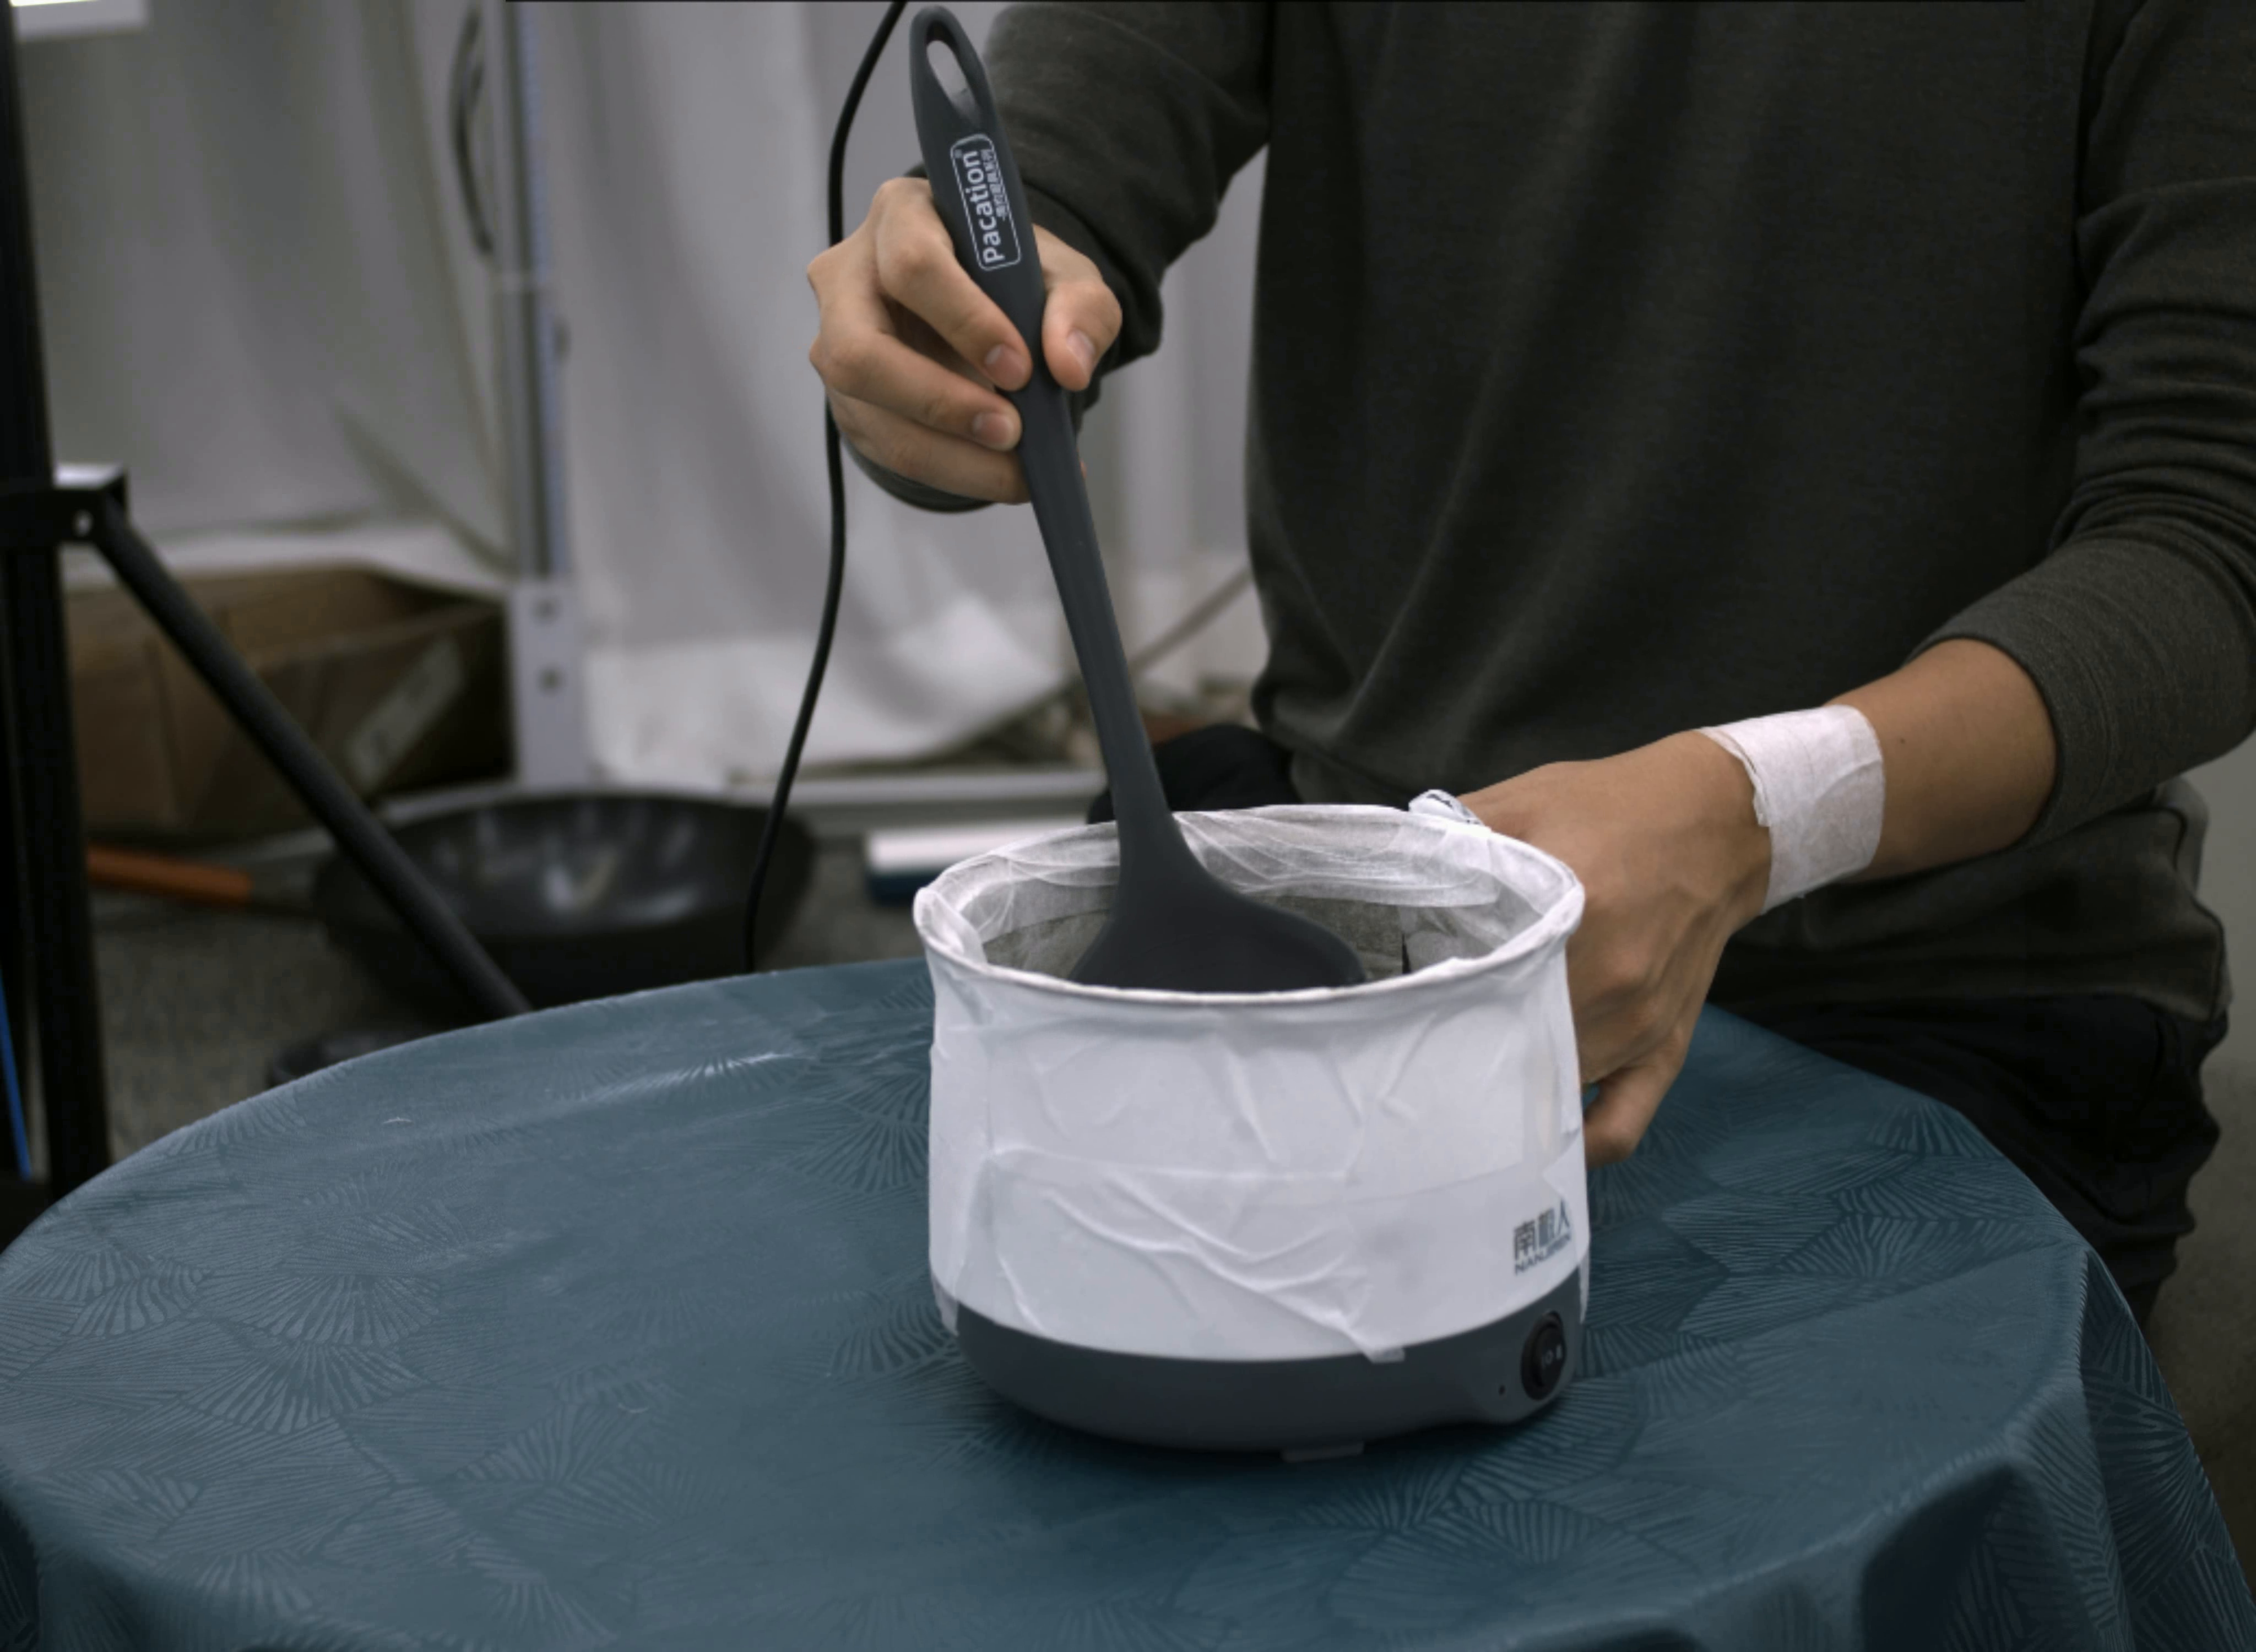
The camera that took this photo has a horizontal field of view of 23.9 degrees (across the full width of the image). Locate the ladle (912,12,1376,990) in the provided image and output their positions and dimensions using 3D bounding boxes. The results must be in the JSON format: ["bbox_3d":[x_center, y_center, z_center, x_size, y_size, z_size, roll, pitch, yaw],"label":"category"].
[{"bbox_3d":[-0.009,-0.073,1.435,0.085,0.316,0.064,-14,-4,-11],"label":"ladle"}]

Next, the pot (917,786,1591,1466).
[{"bbox_3d":[0.049,0.073,1.427,0.182,0.136,0.229,8,19,32],"label":"pot"}]
